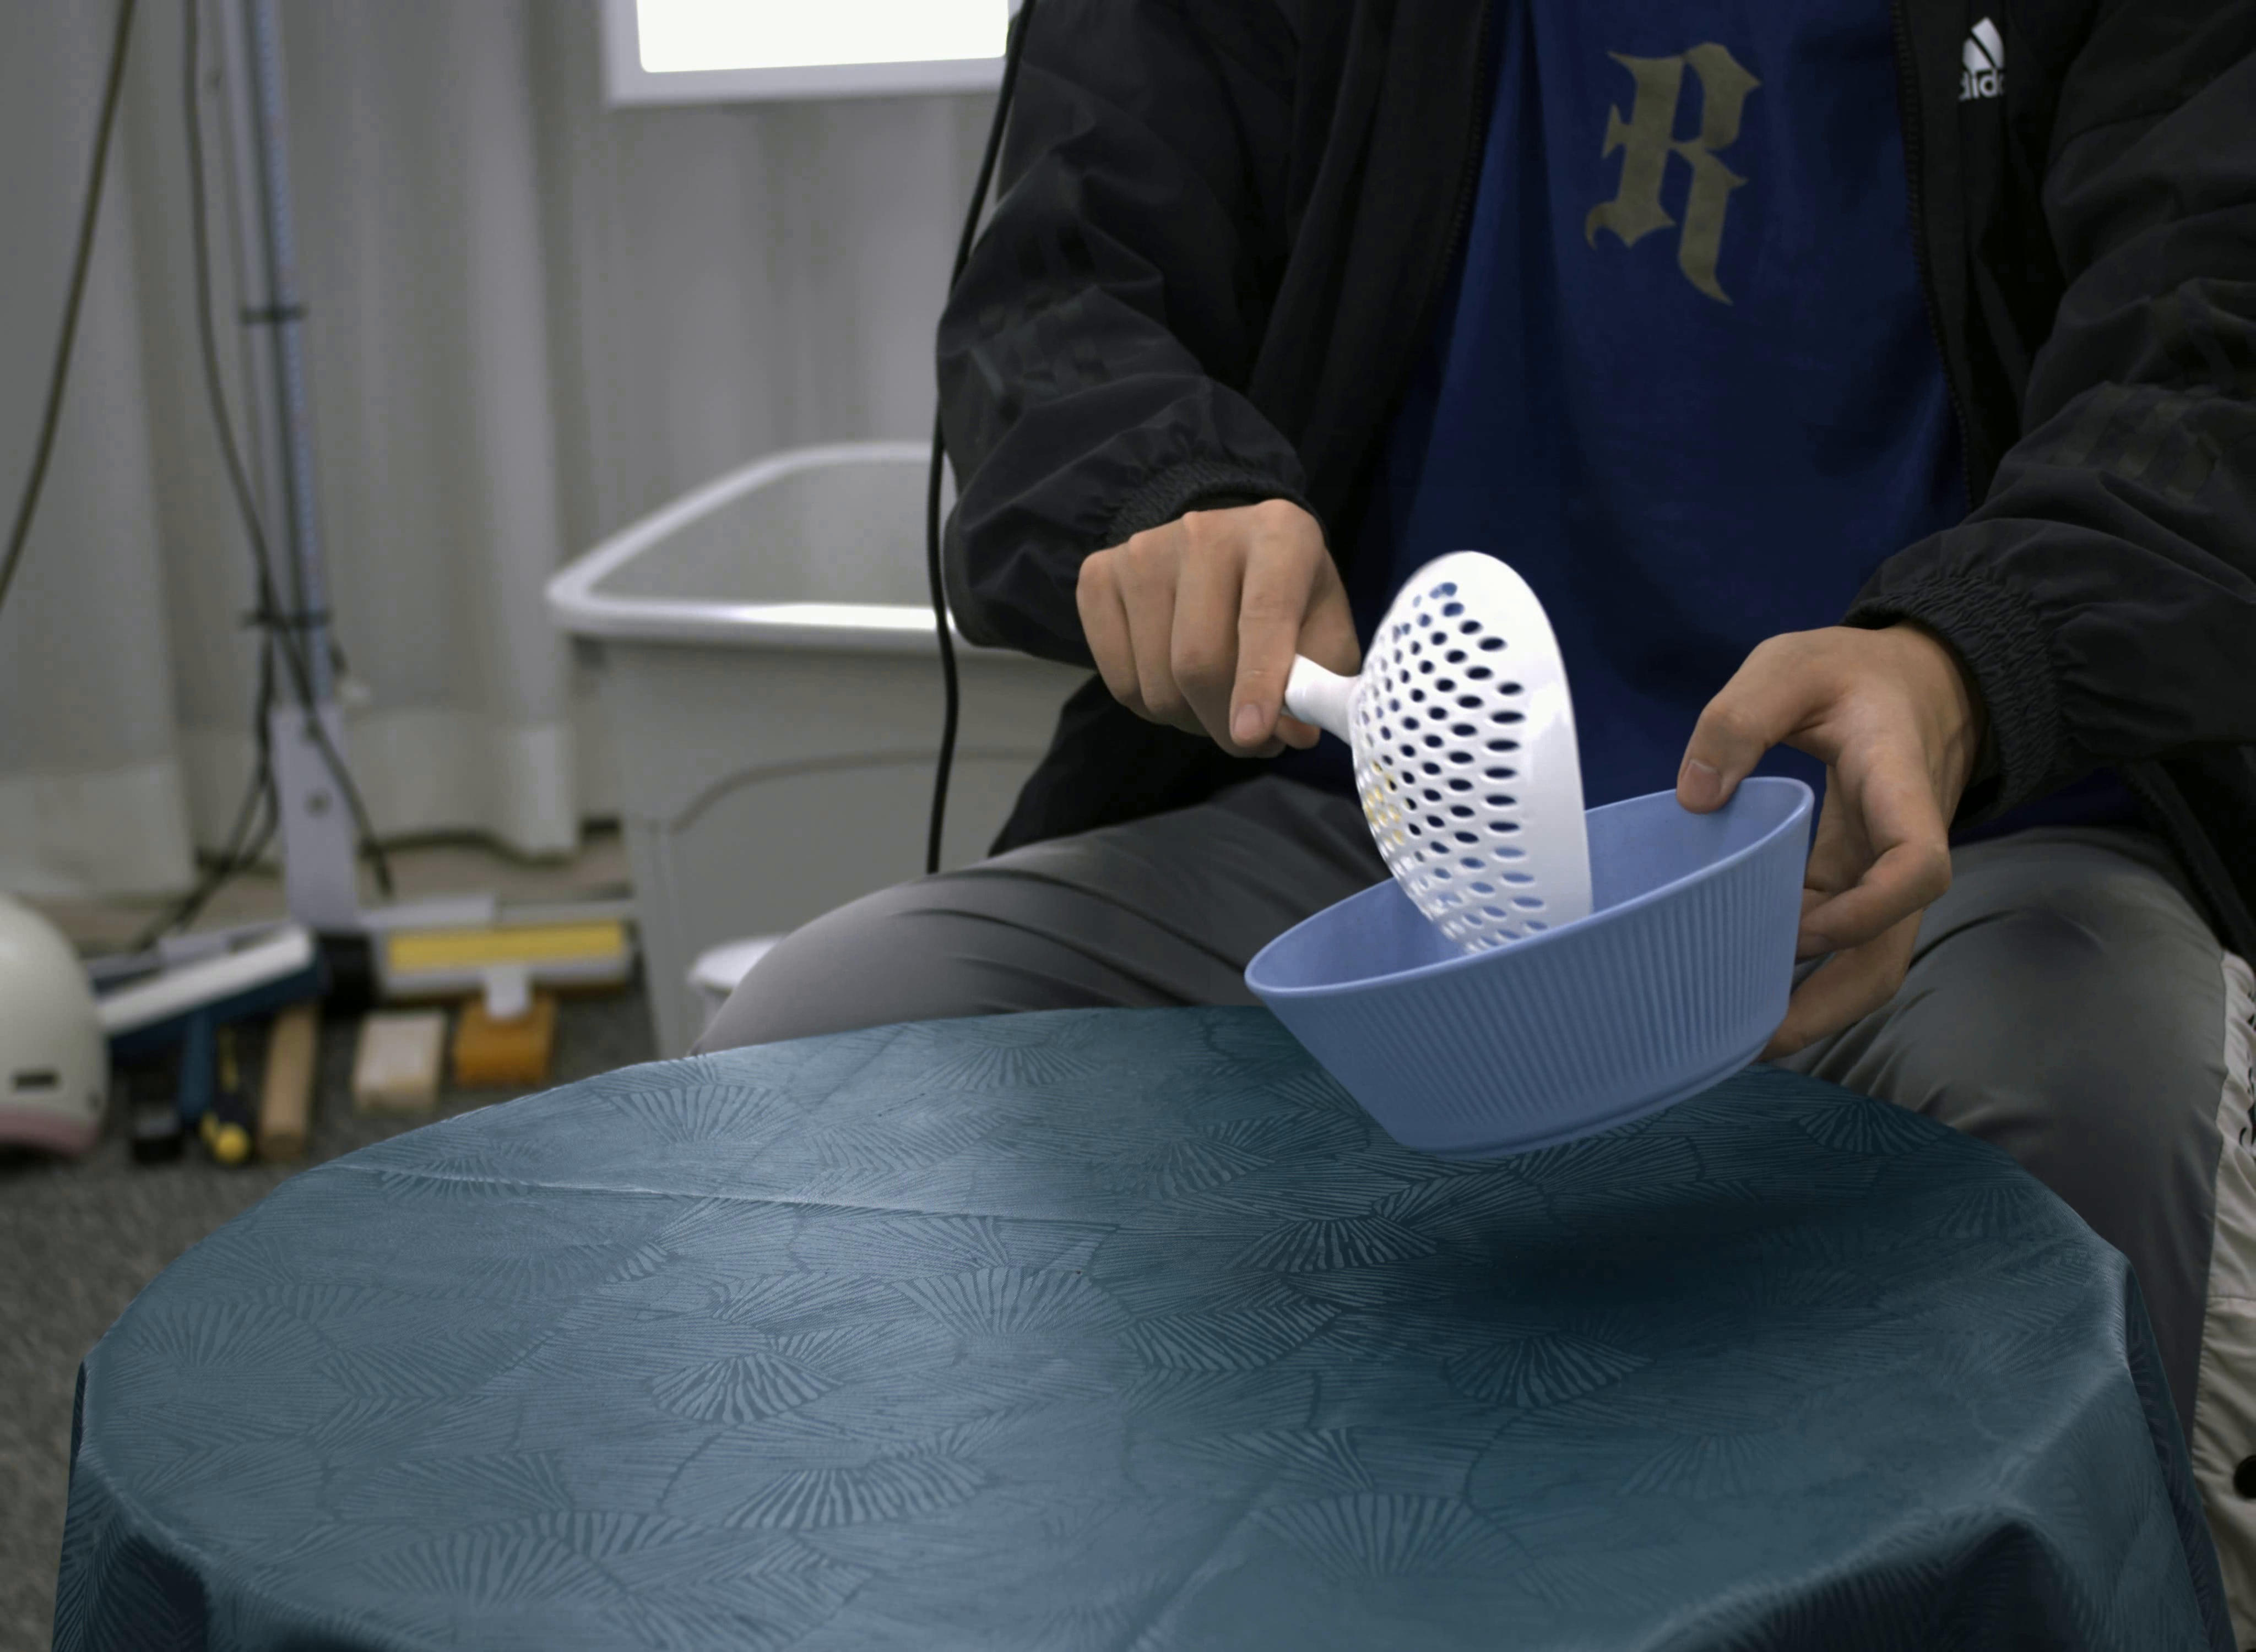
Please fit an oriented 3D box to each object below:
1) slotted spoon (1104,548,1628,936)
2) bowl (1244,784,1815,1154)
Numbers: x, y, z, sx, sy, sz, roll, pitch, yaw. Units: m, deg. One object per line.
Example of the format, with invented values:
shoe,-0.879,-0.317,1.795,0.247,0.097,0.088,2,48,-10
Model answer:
slotted spoon,0.067,-0.033,1.706,0.050,0.136,0.350,-13,15,-14
bowl,0.127,0.046,1.609,0.175,0.070,0.176,-19,6,2
